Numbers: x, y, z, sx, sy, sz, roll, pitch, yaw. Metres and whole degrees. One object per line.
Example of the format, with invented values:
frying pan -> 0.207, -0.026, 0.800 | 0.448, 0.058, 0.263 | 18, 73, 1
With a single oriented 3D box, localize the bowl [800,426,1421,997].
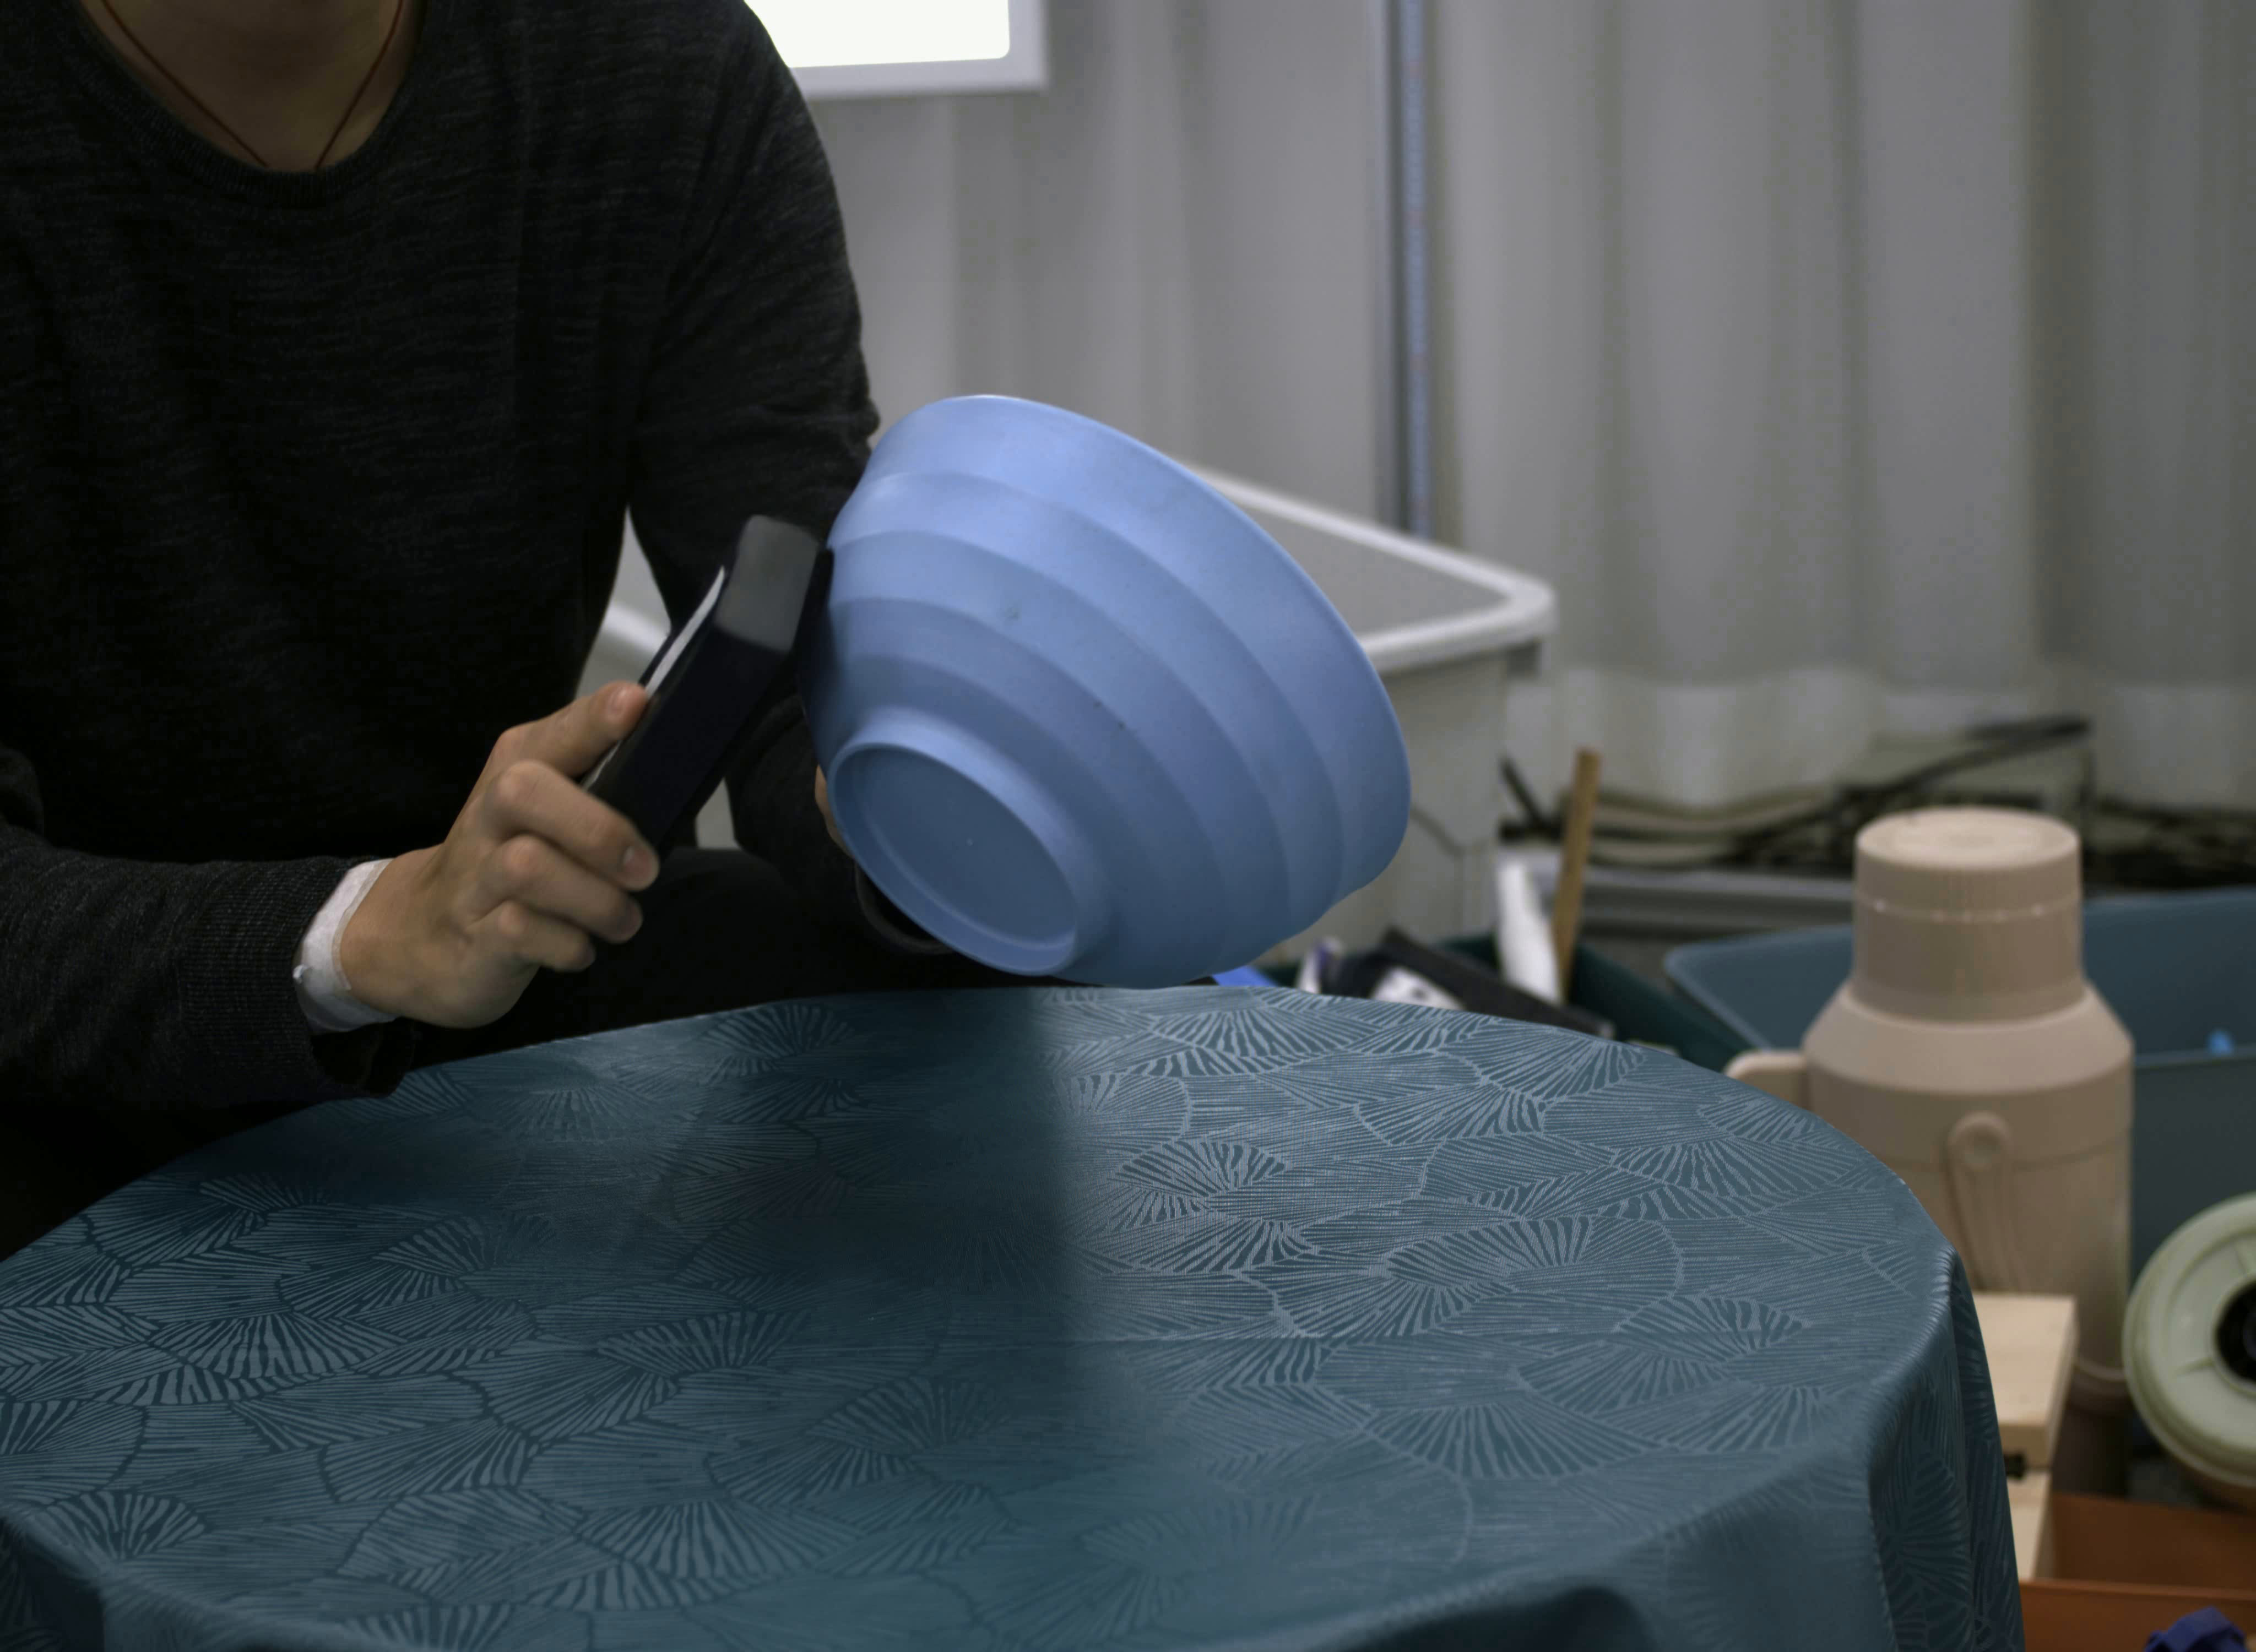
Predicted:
bowl -> -0.021, -0.015, 1.608 | 0.197, 0.194, 0.096 | 9, 53, 38

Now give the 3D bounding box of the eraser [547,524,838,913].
eraser -> -0.128, -0.031, 1.608 | 0.030, 0.124, 0.054 | 29, 40, -10
